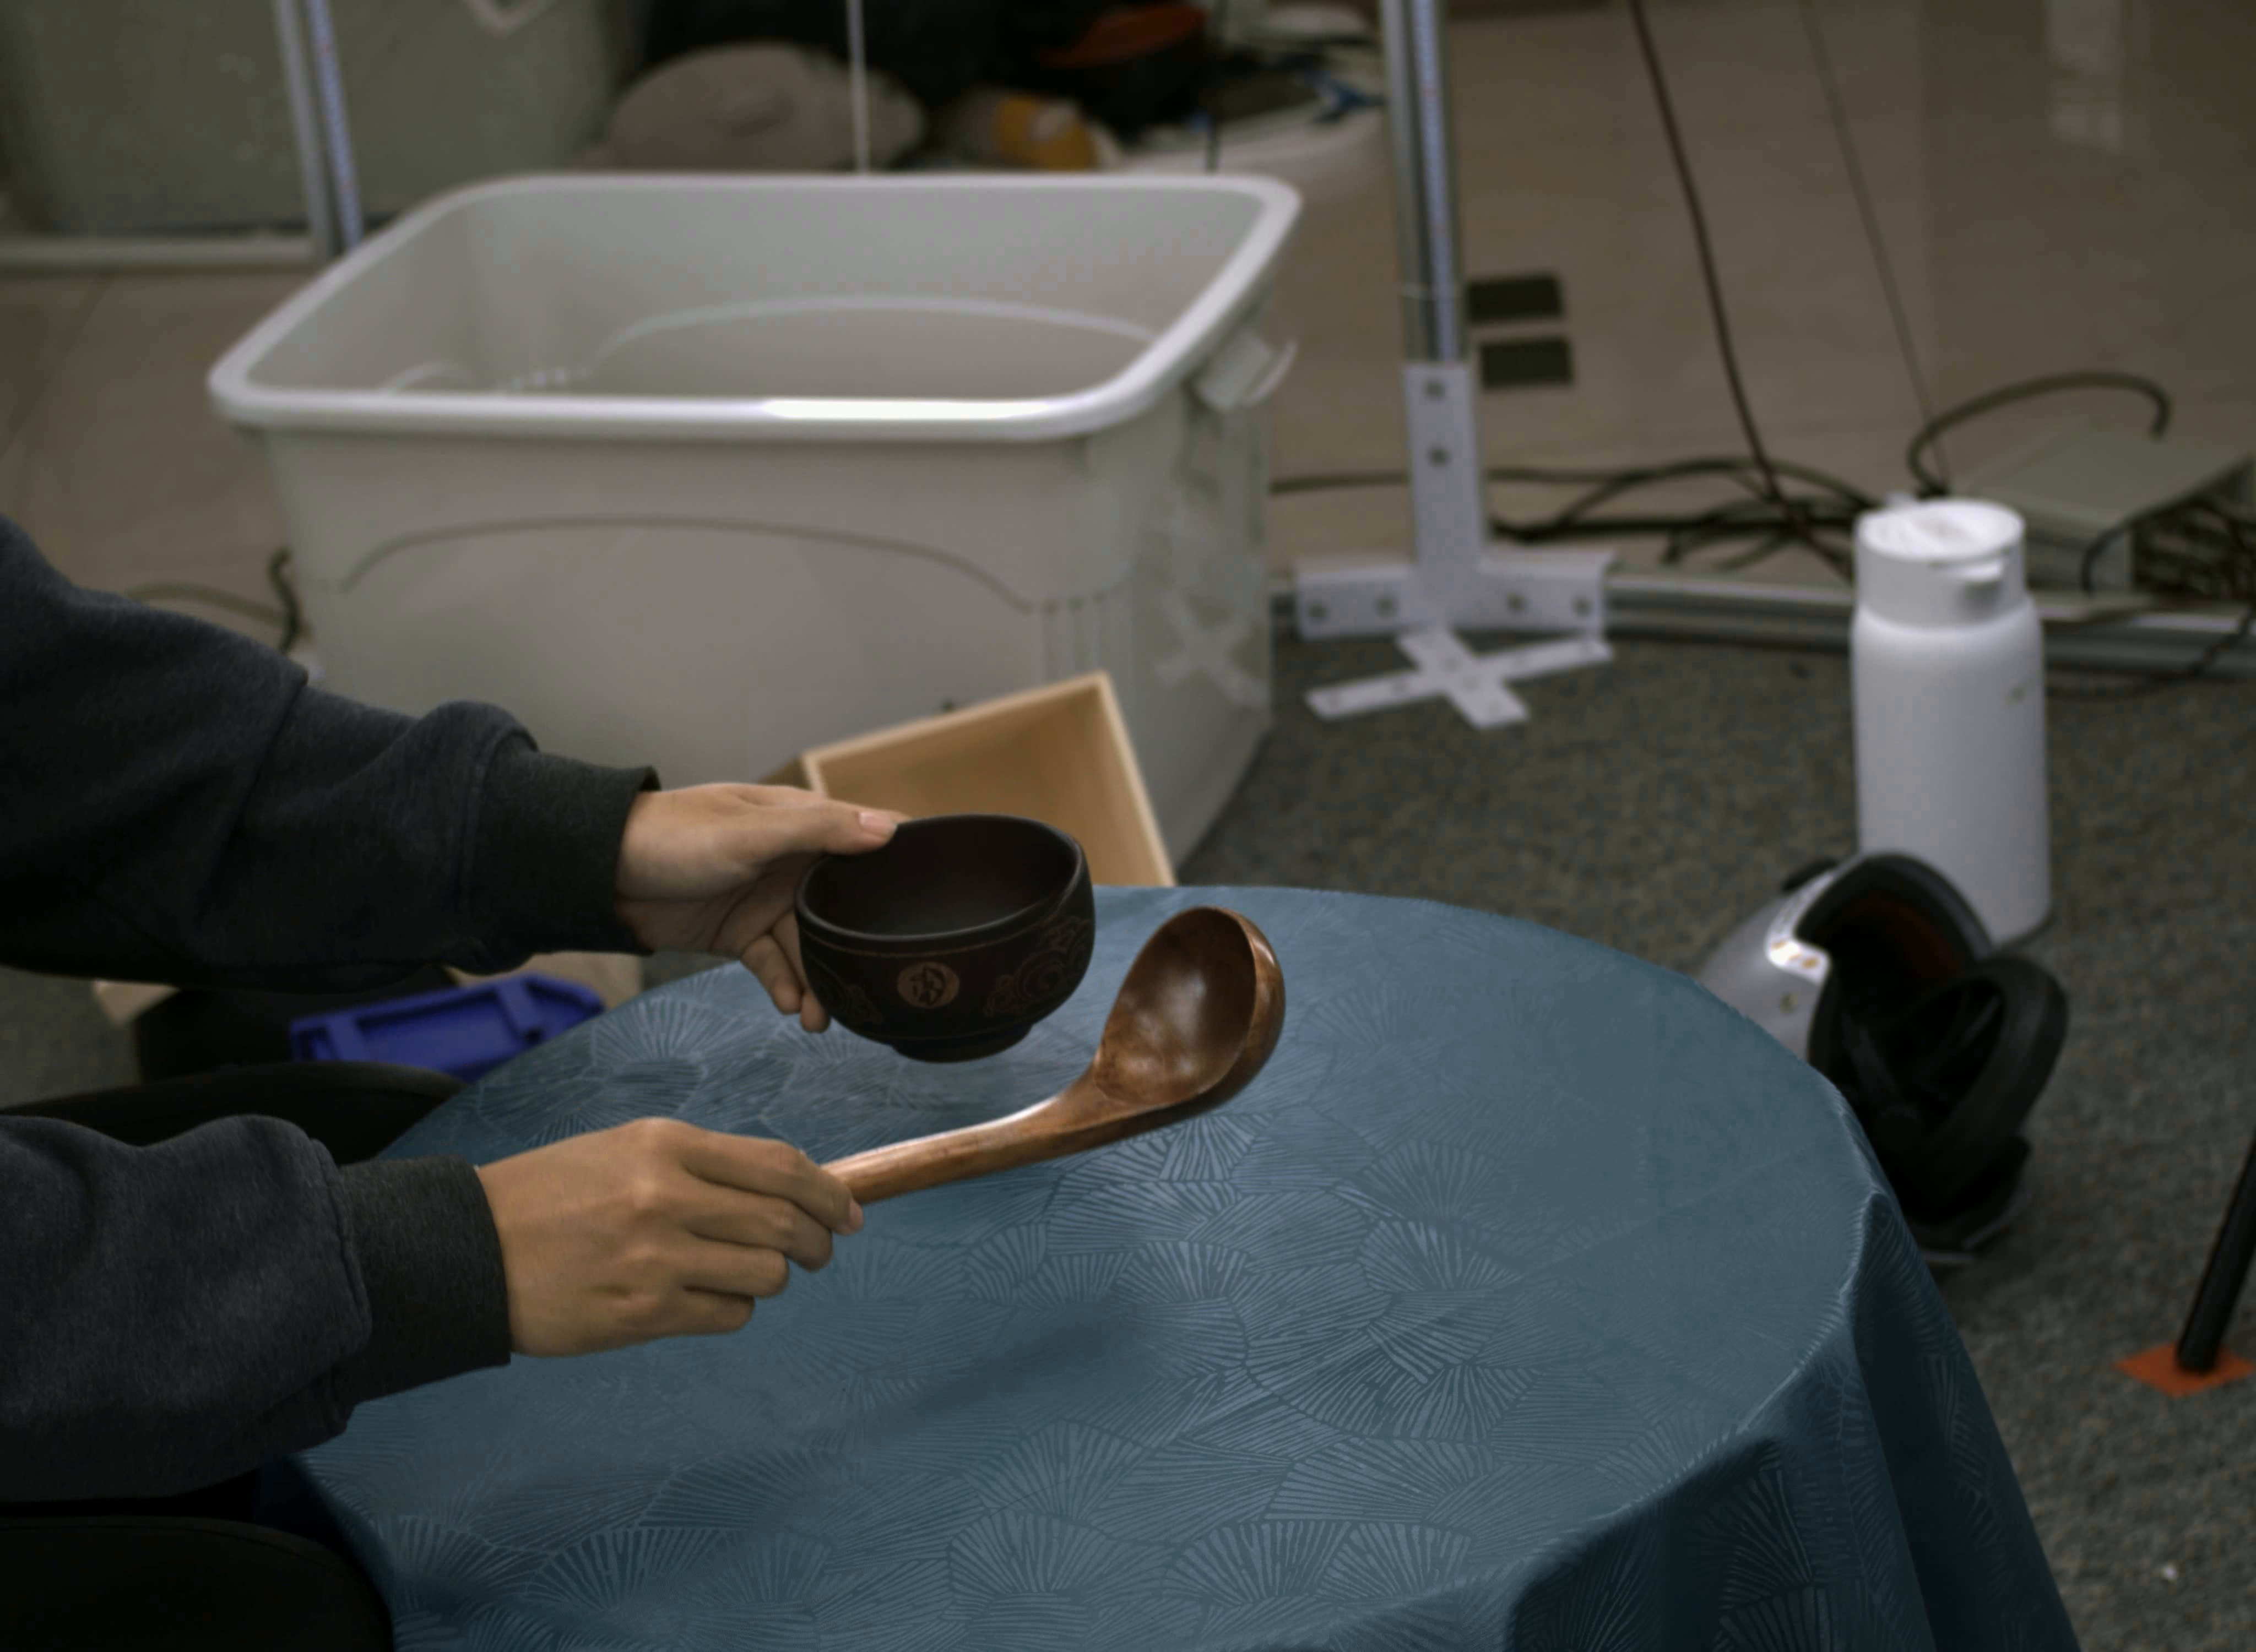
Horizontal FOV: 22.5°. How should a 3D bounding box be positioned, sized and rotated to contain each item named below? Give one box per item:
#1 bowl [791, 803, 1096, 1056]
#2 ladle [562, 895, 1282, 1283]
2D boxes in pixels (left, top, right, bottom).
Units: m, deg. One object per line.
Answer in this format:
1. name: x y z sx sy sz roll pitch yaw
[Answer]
1. bowl: -0.070 0.046 2.208 0.118 0.071 0.116 -5 26 3
2. ladle: -0.071 0.090 1.984 0.273 0.078 0.081 -15 27 -23
